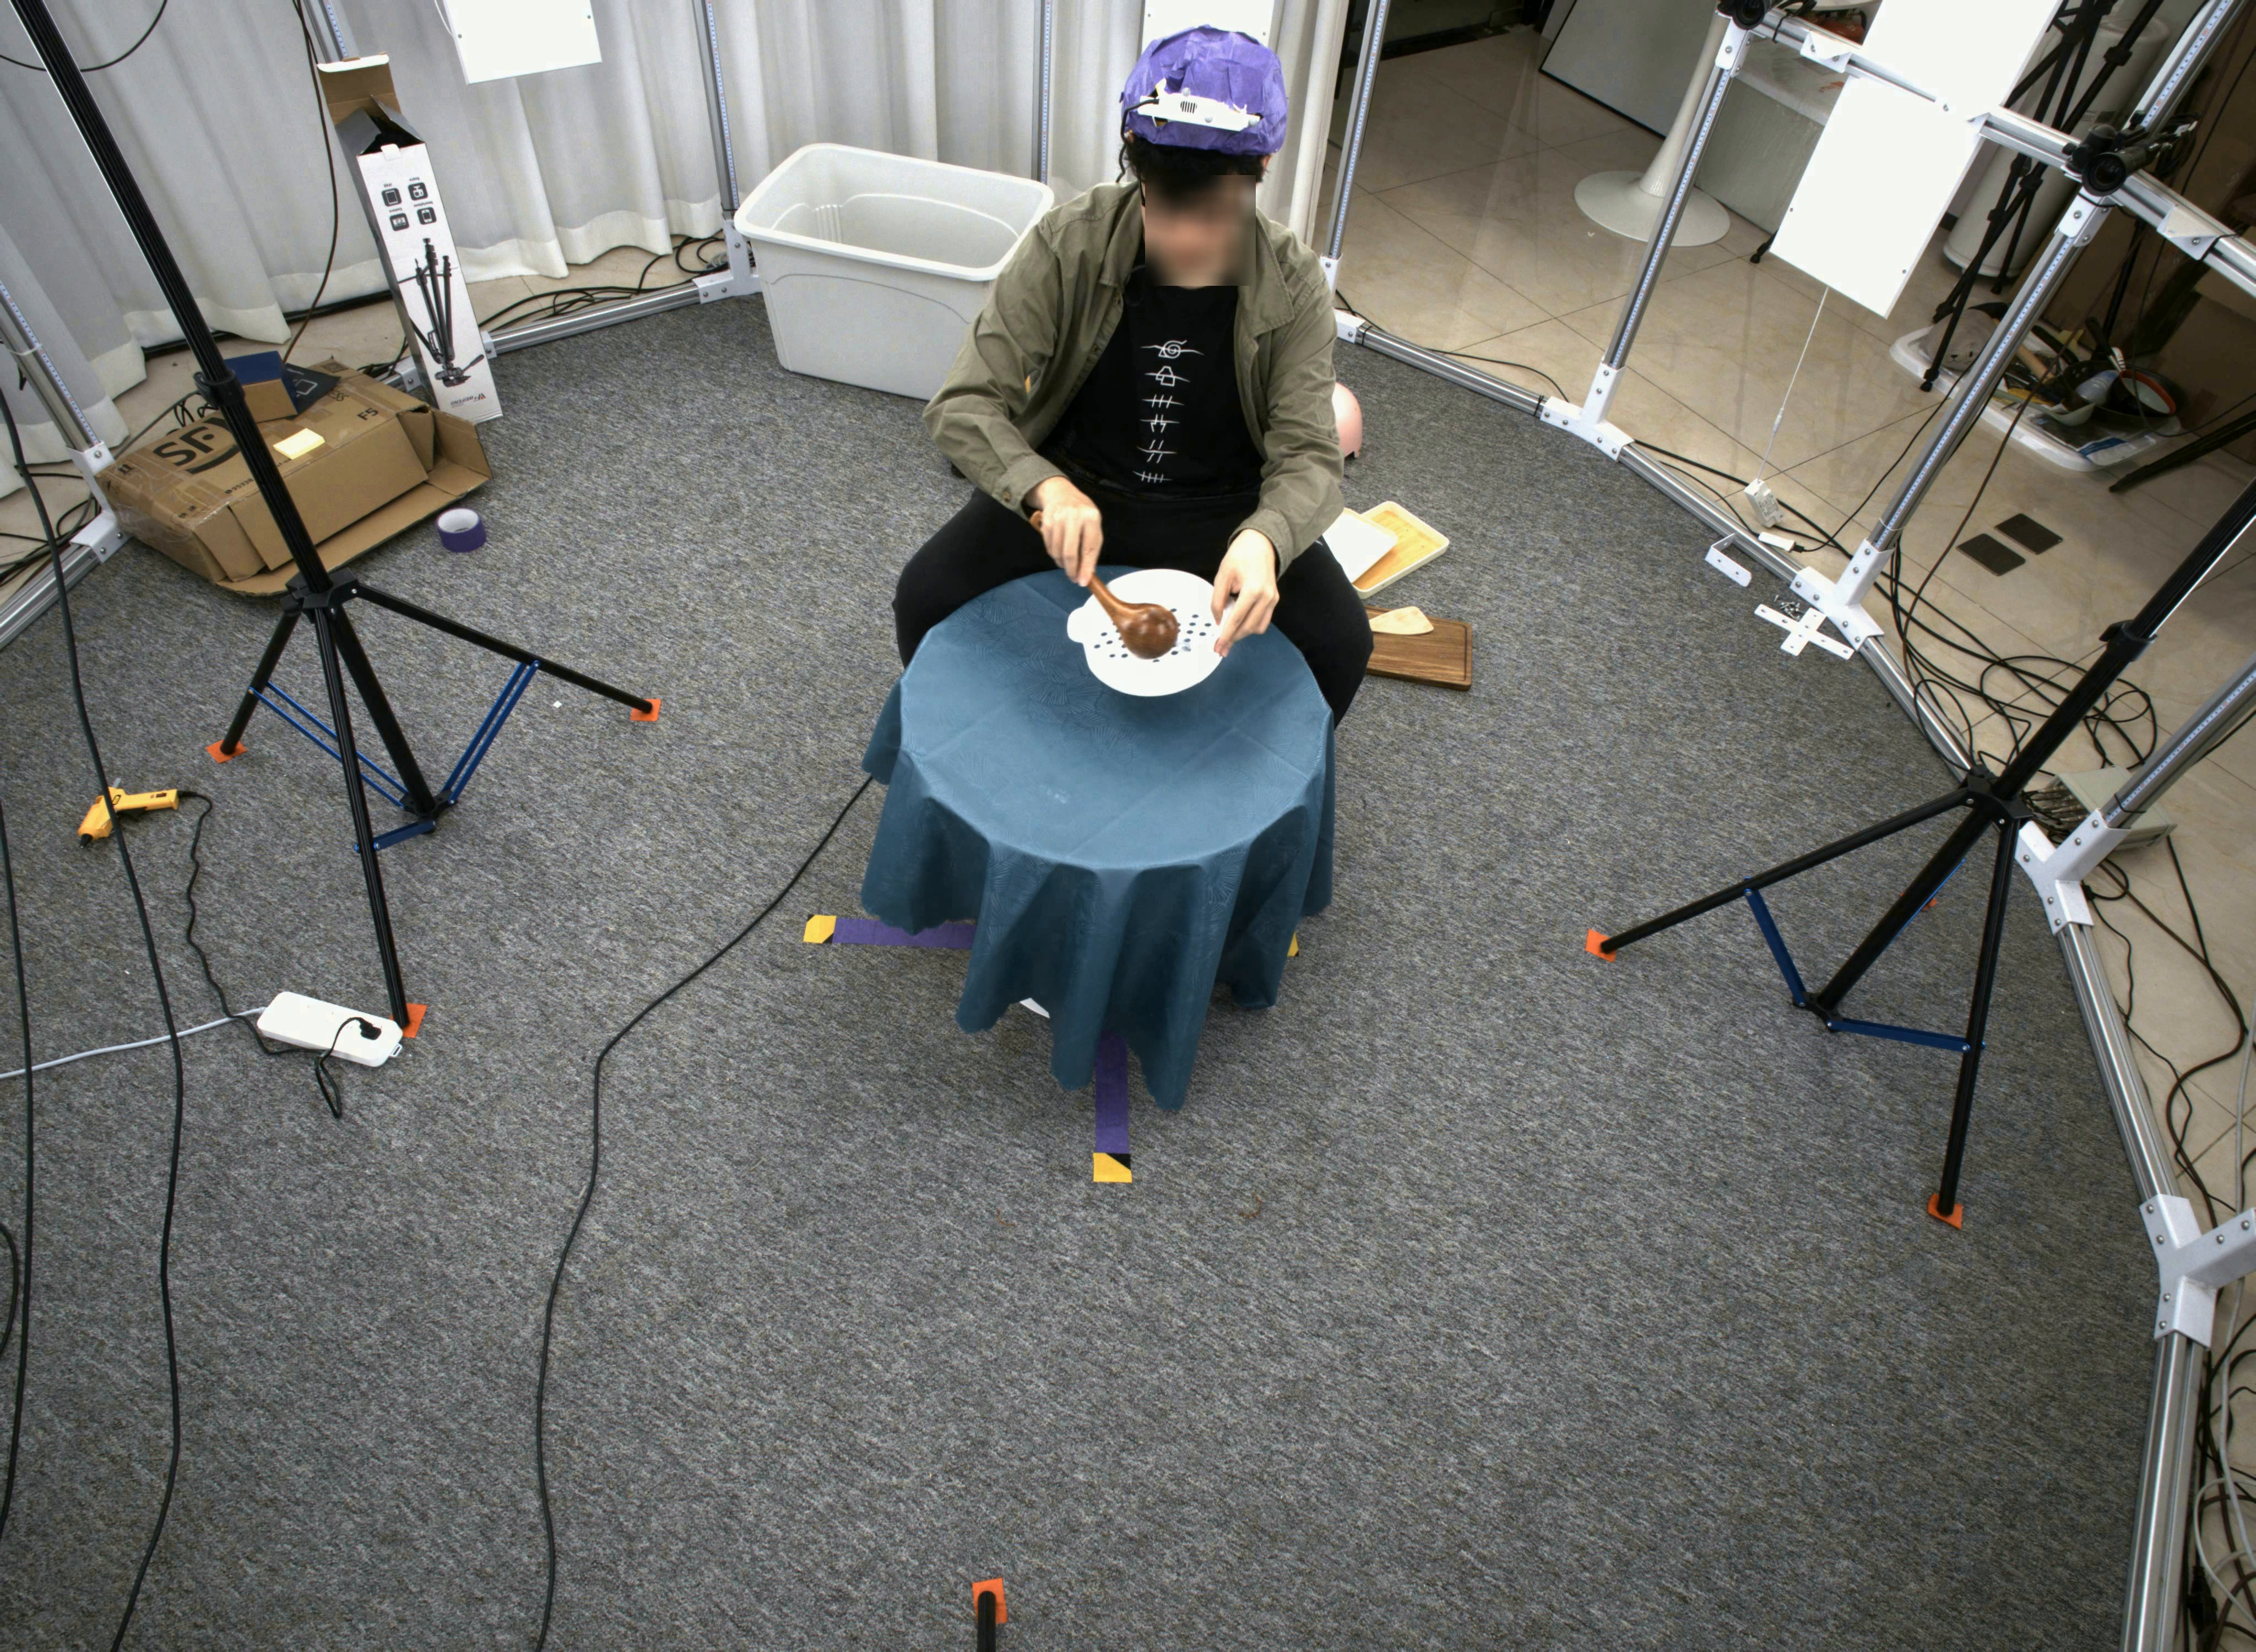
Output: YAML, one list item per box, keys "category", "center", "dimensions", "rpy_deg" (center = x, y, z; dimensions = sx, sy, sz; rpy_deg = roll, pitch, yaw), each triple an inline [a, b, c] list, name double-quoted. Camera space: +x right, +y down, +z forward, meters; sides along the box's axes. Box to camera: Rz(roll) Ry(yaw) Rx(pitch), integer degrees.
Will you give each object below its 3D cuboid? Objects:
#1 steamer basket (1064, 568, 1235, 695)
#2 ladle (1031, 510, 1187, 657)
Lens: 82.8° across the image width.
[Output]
- category: "steamer basket"
  center: [0.031, -0.263, 1.745]
  dimensions: [0.230, 0.067, 0.207]
  rpy_deg: [-4, 47, 4]
- category: "ladle"
  center: [-0.025, -0.336, 1.738]
  dimensions: [0.076, 0.081, 0.279]
  rpy_deg: [-4, 48, -52]
